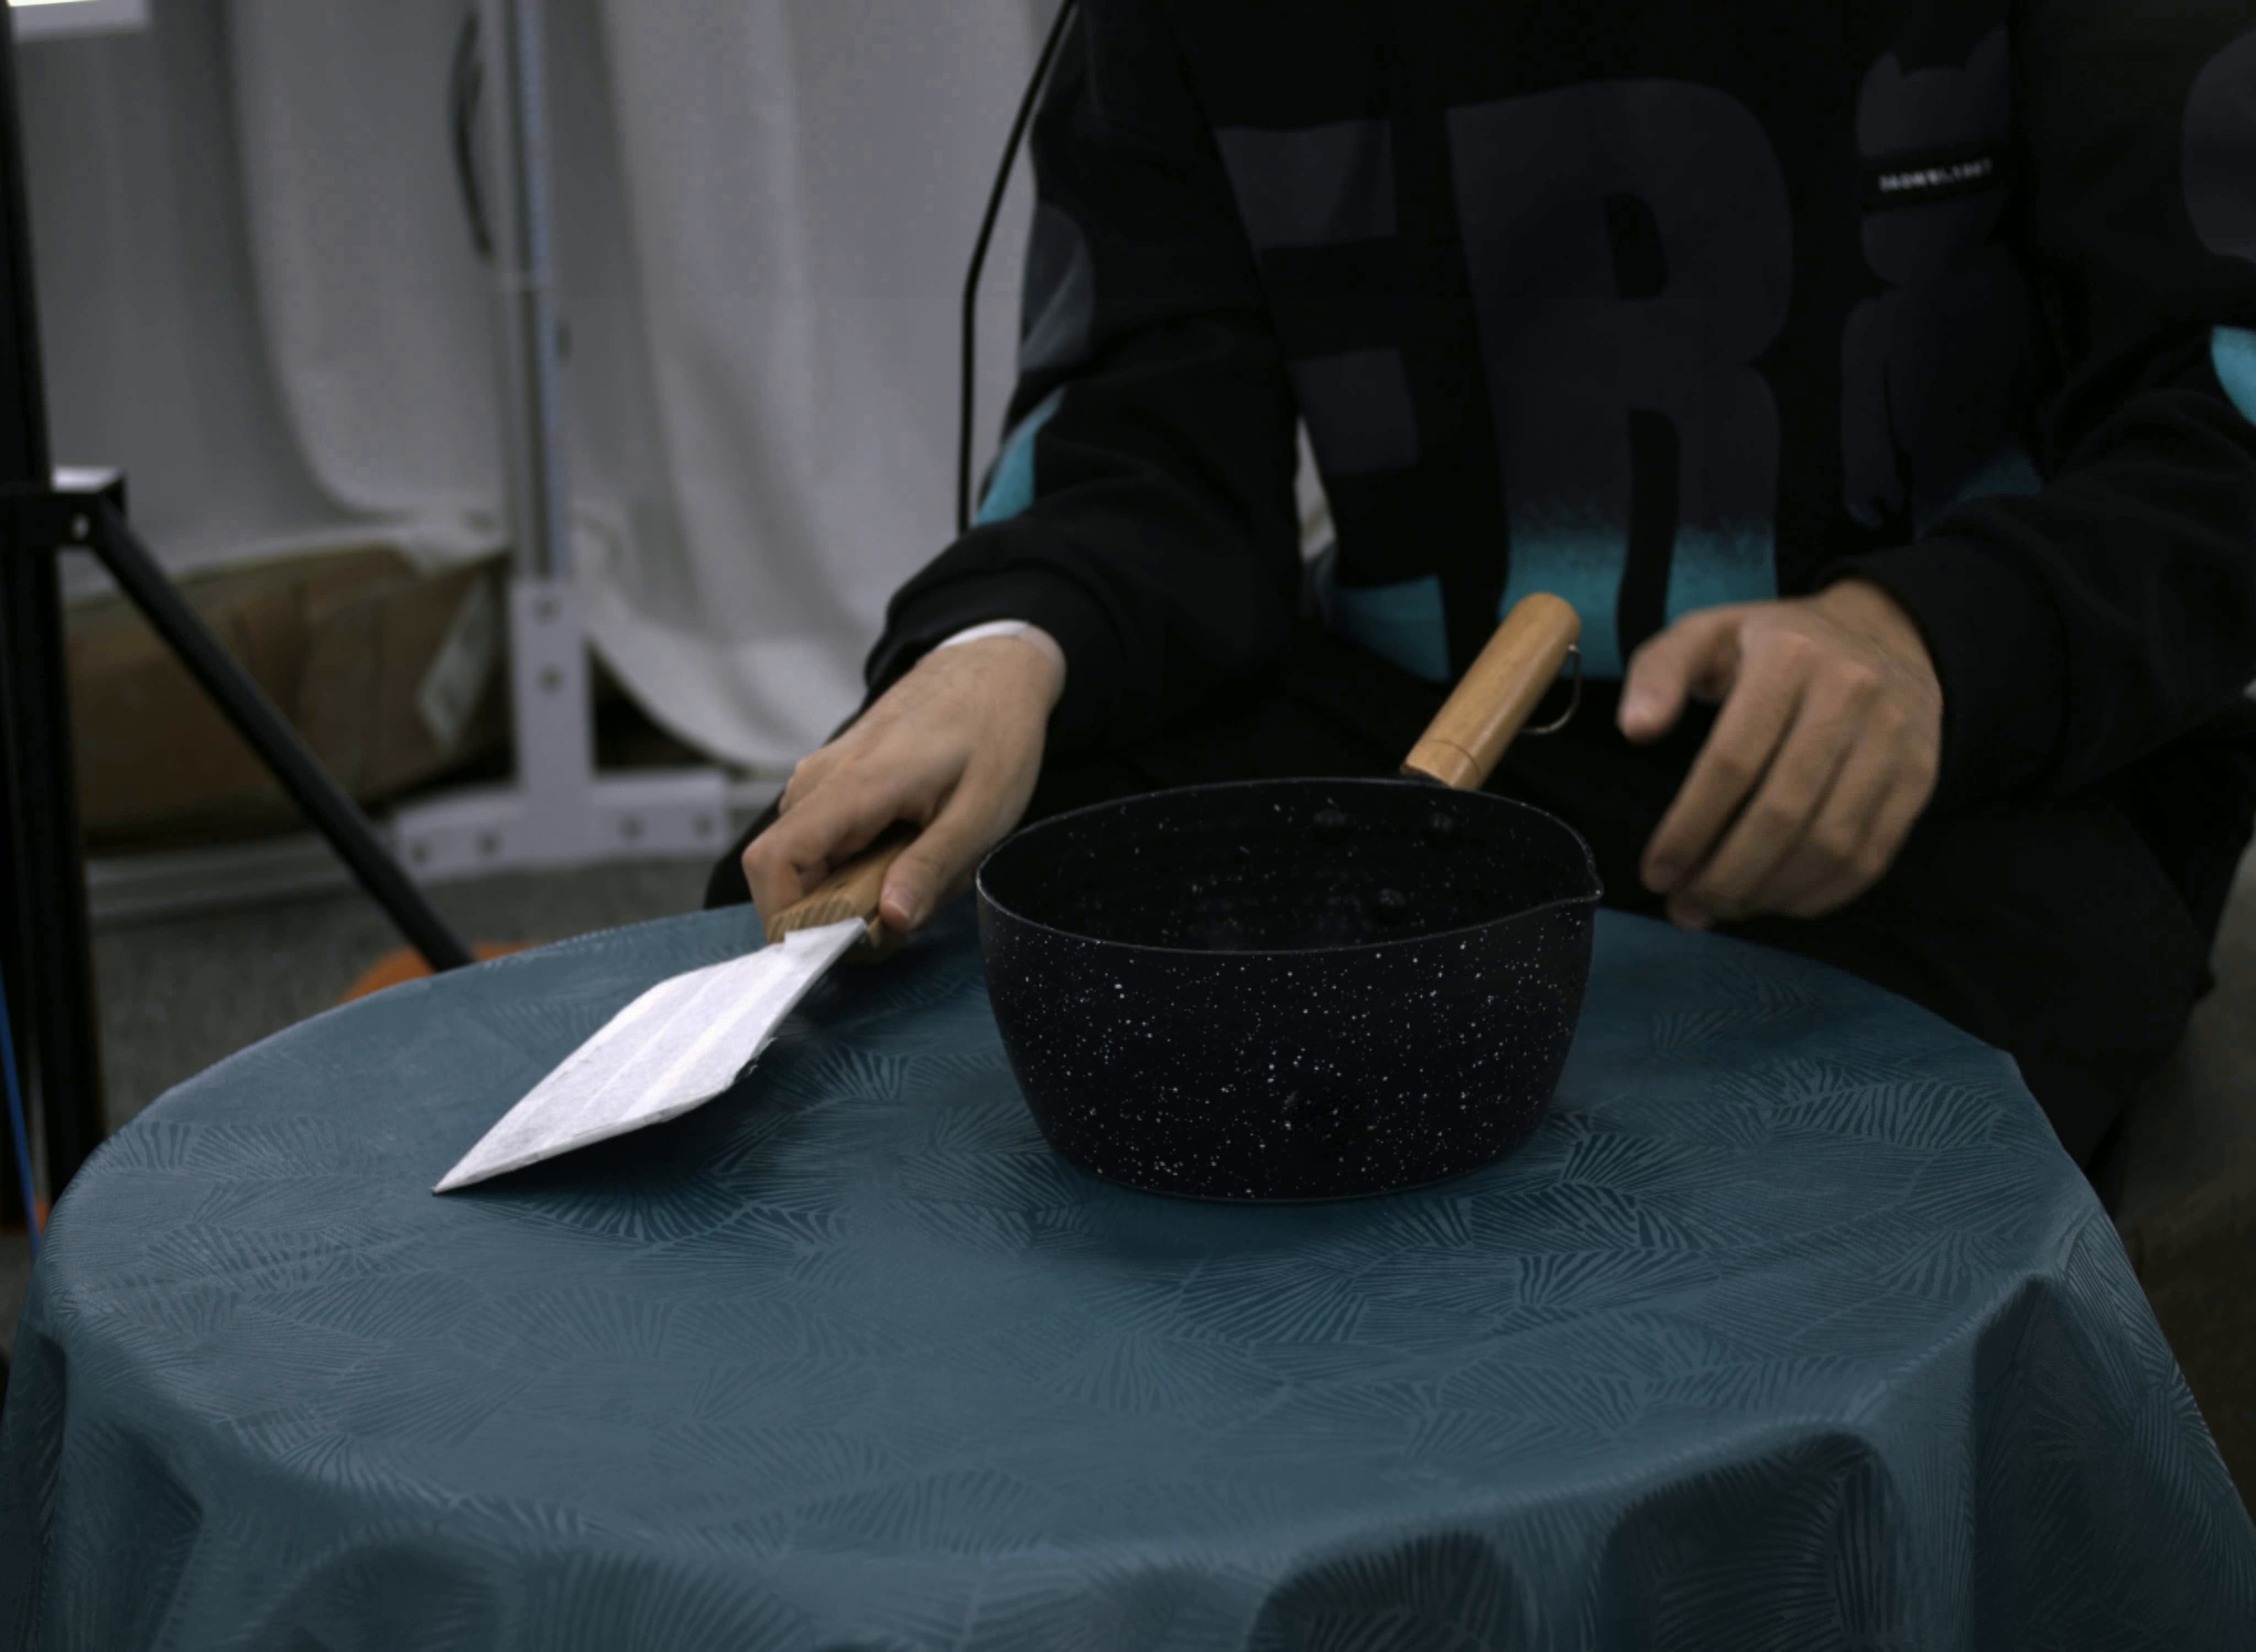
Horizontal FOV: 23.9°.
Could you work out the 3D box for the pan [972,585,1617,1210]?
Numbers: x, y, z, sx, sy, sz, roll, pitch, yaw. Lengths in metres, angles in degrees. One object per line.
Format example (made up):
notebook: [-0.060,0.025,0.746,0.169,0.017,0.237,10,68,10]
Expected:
pan: [0.076,0.018,1.663,0.210,0.108,0.338,3,18,22]

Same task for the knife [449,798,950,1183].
knife: [-0.121,0.049,1.709,0.115,0.021,0.312,-18,11,23]
